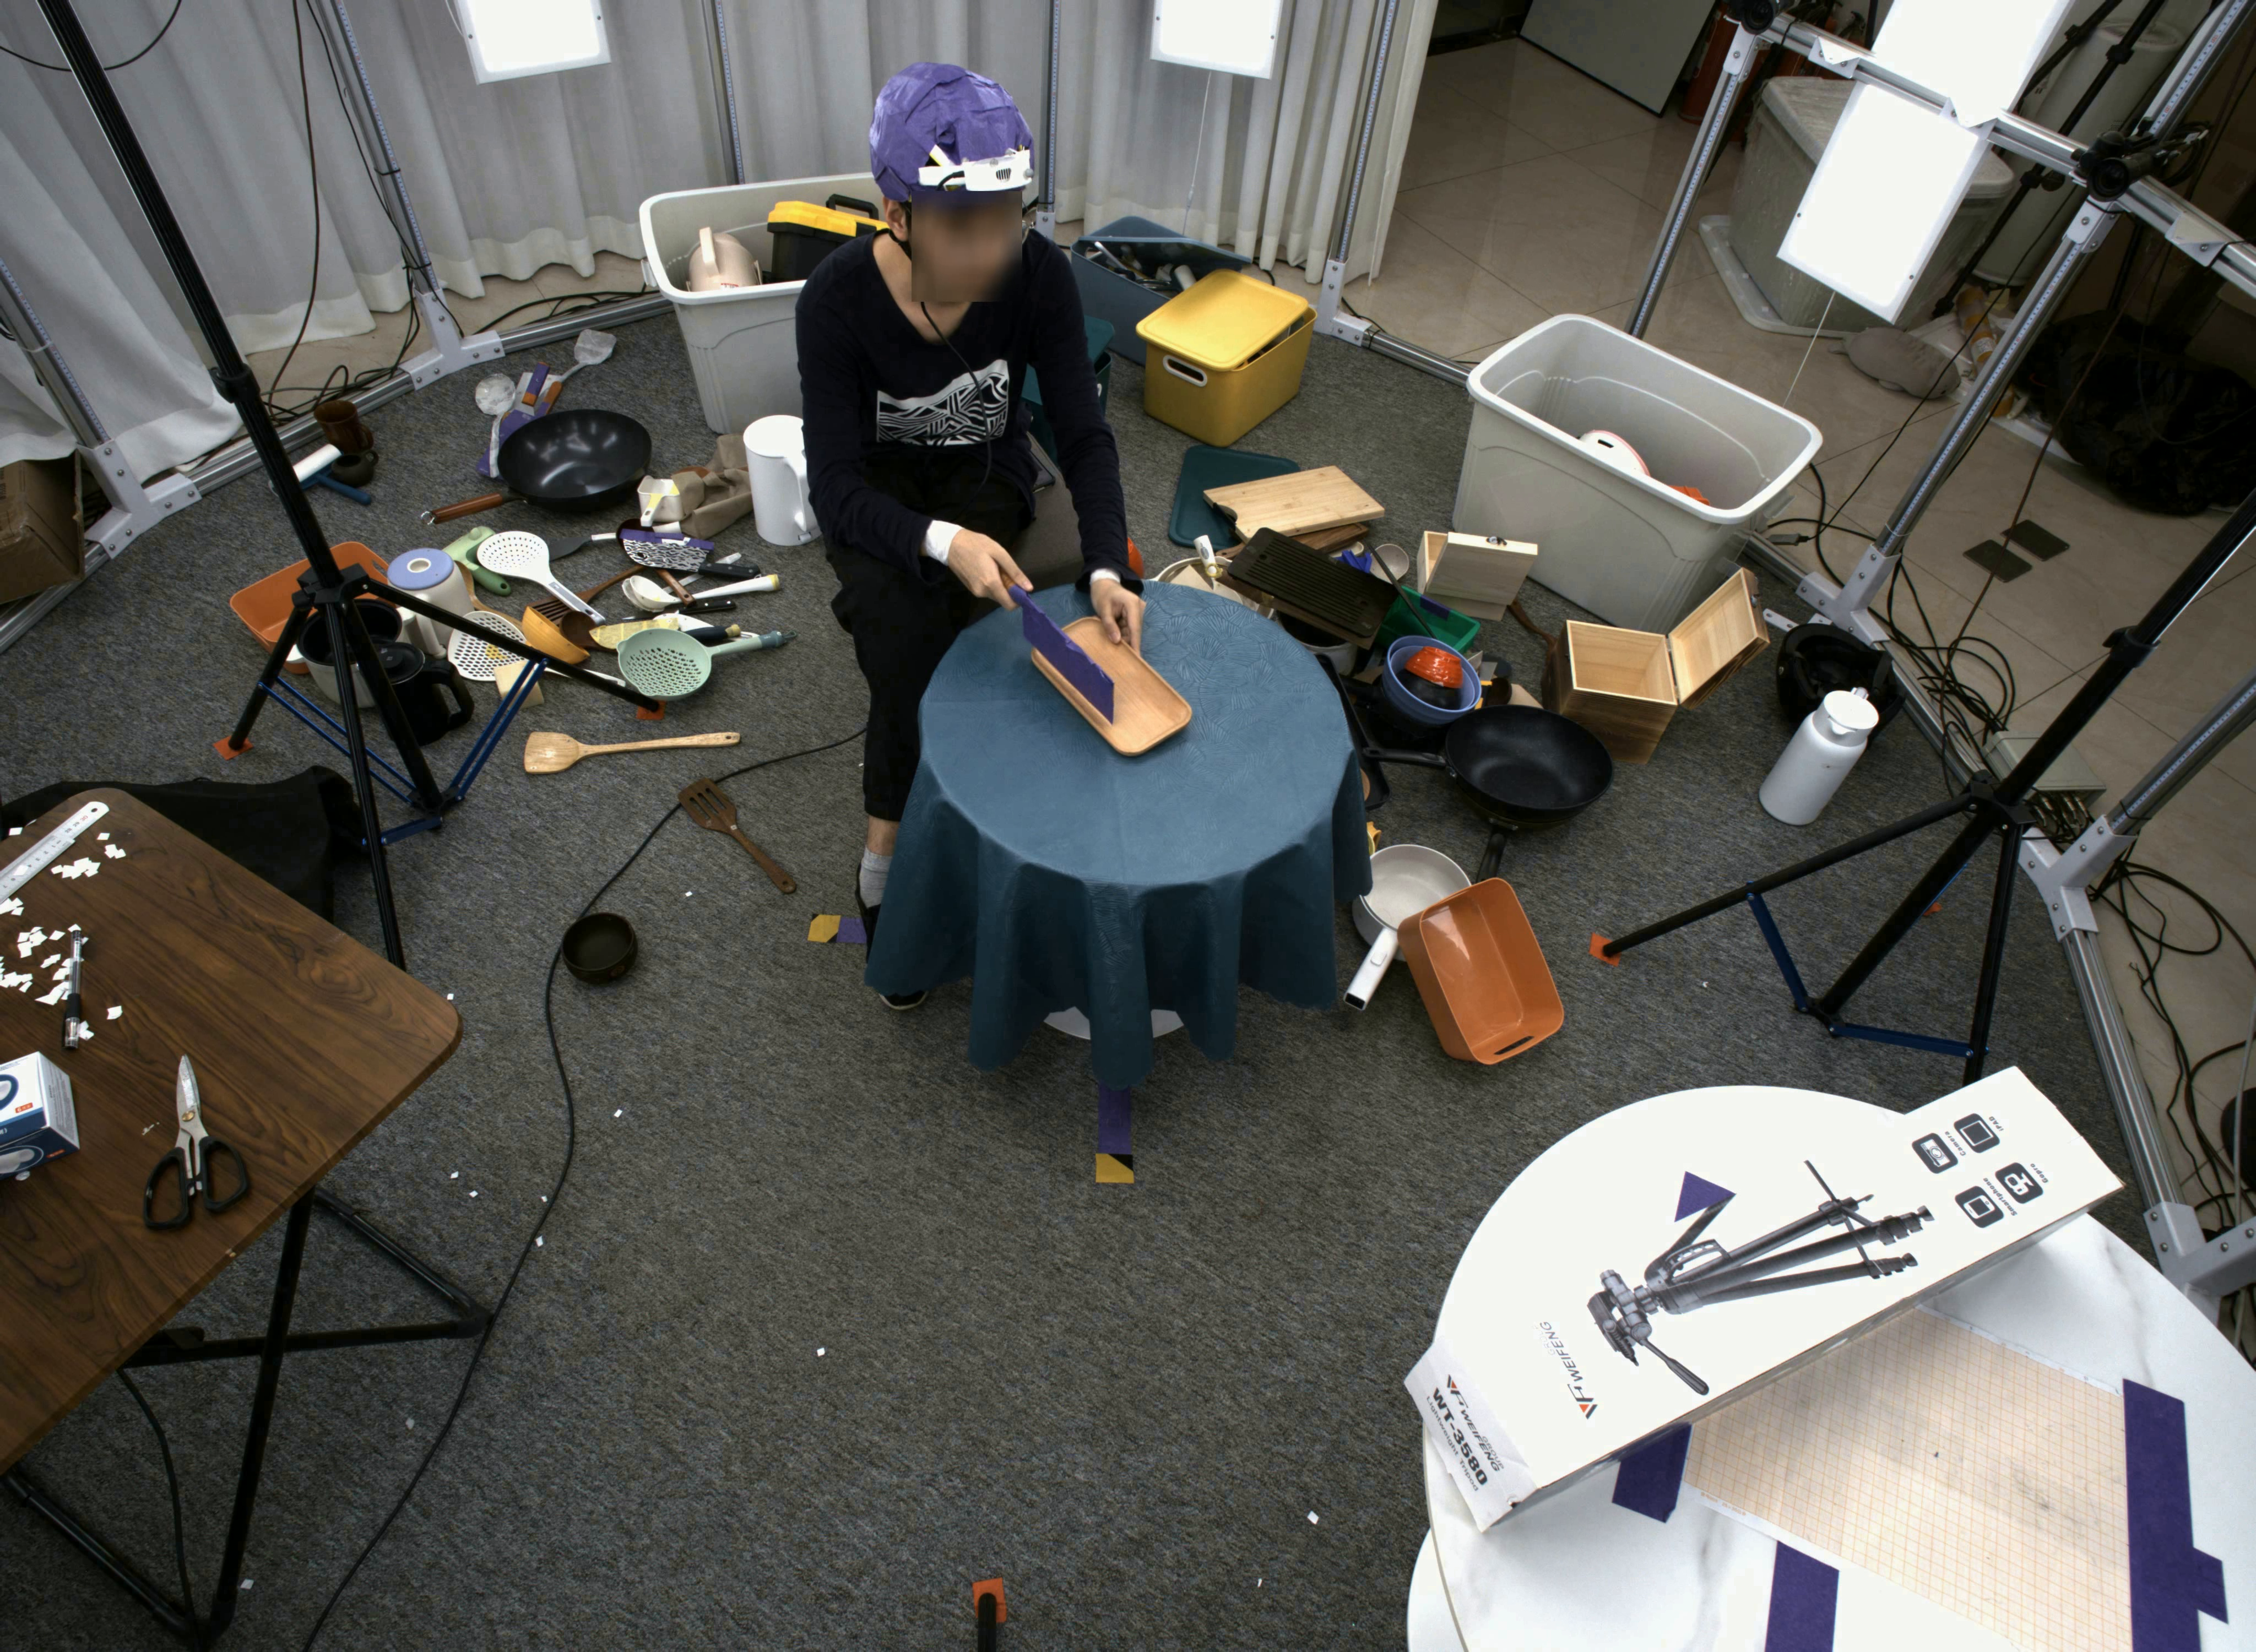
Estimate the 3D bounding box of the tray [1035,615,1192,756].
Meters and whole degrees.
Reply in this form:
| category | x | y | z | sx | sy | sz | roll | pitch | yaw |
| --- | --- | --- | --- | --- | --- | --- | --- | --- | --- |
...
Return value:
| category | x | y | z | sx | sy | sz | roll | pitch | yaw |
| --- | --- | --- | --- | --- | --- | --- | --- | --- | --- |
| tray | -0.023 | -0.202 | 1.818 | 0.131 | 0.022 | 0.255 | -28 | 57 | -19 |

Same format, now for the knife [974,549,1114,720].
| category | x | y | z | sx | sy | sz | roll | pitch | yaw |
| --- | --- | --- | --- | --- | --- | --- | --- | --- | --- |
| knife | -0.118 | -0.266 | 1.803 | 0.032 | 0.101 | 0.321 | -29 | 59 | -22 |
